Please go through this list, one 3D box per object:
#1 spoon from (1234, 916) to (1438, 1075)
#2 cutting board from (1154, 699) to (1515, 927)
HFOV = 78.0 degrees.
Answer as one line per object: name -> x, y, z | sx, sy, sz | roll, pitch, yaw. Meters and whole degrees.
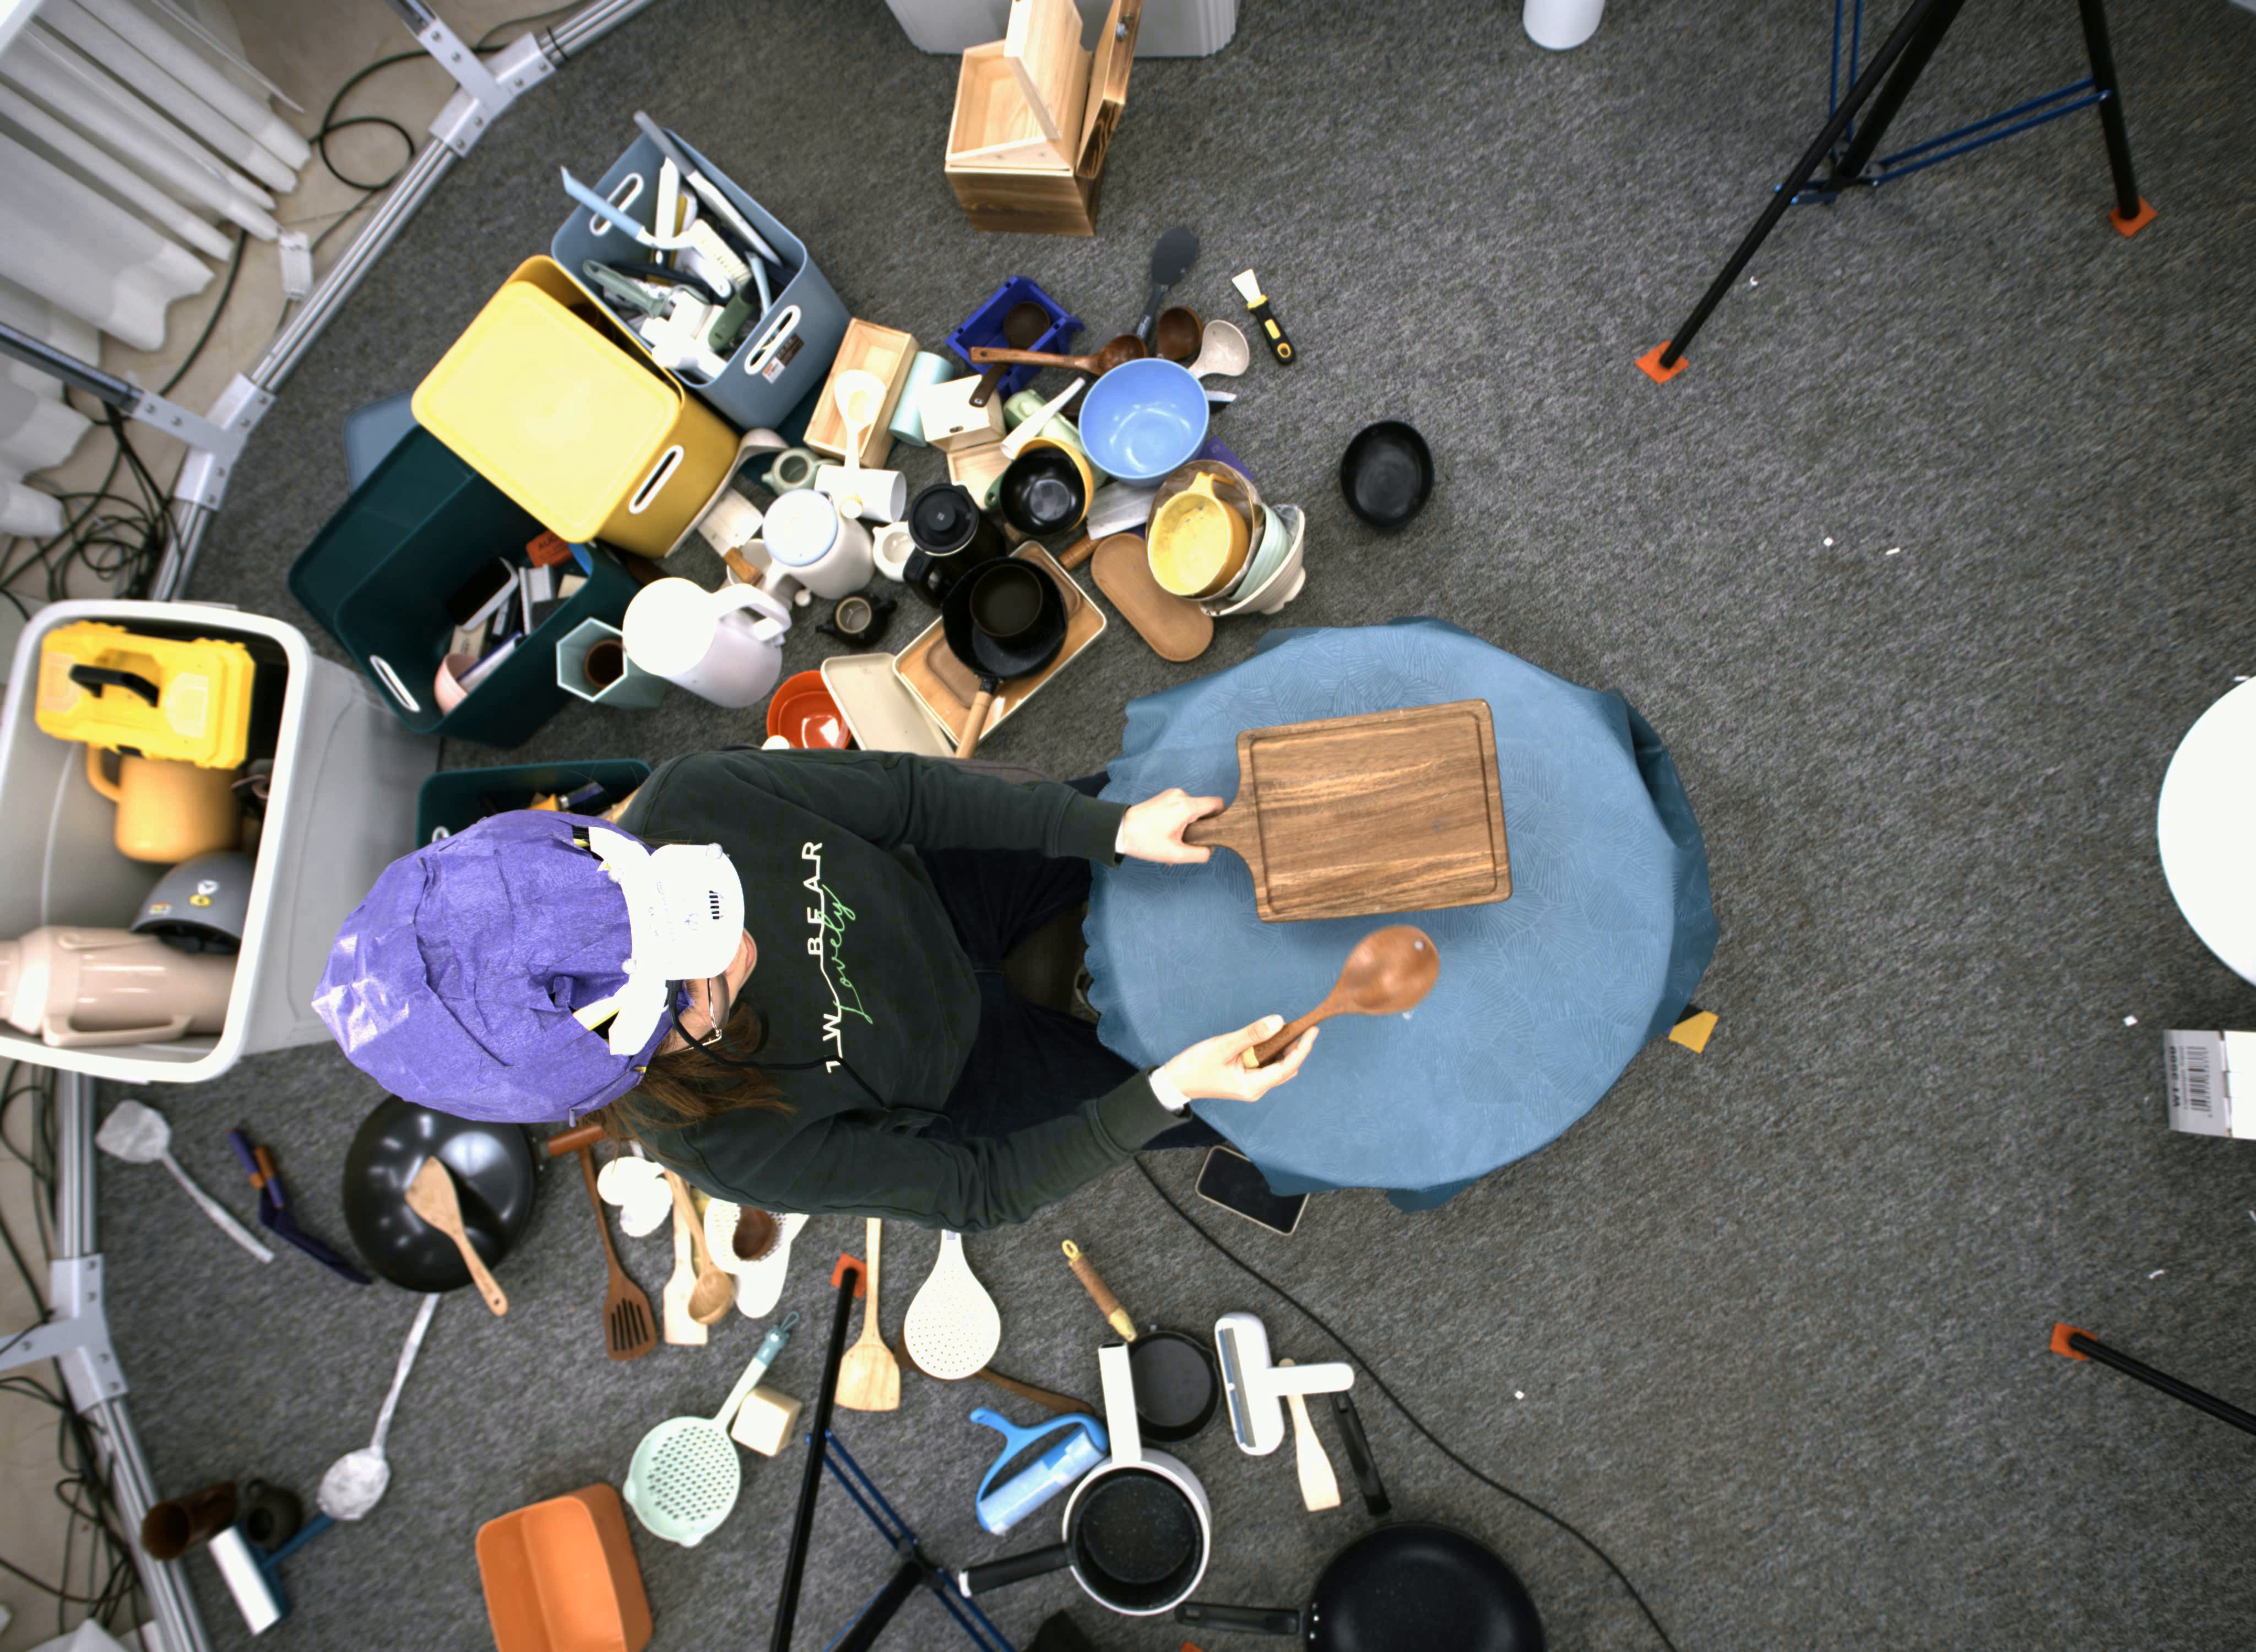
spoon -> 0.184, 0.157, 1.245 | 0.218, 0.017, 0.074 | -37, 71, 14
cutting board -> 0.194, -0.006, 1.371 | 0.355, 0.023, 0.202 | -7, 96, 20
